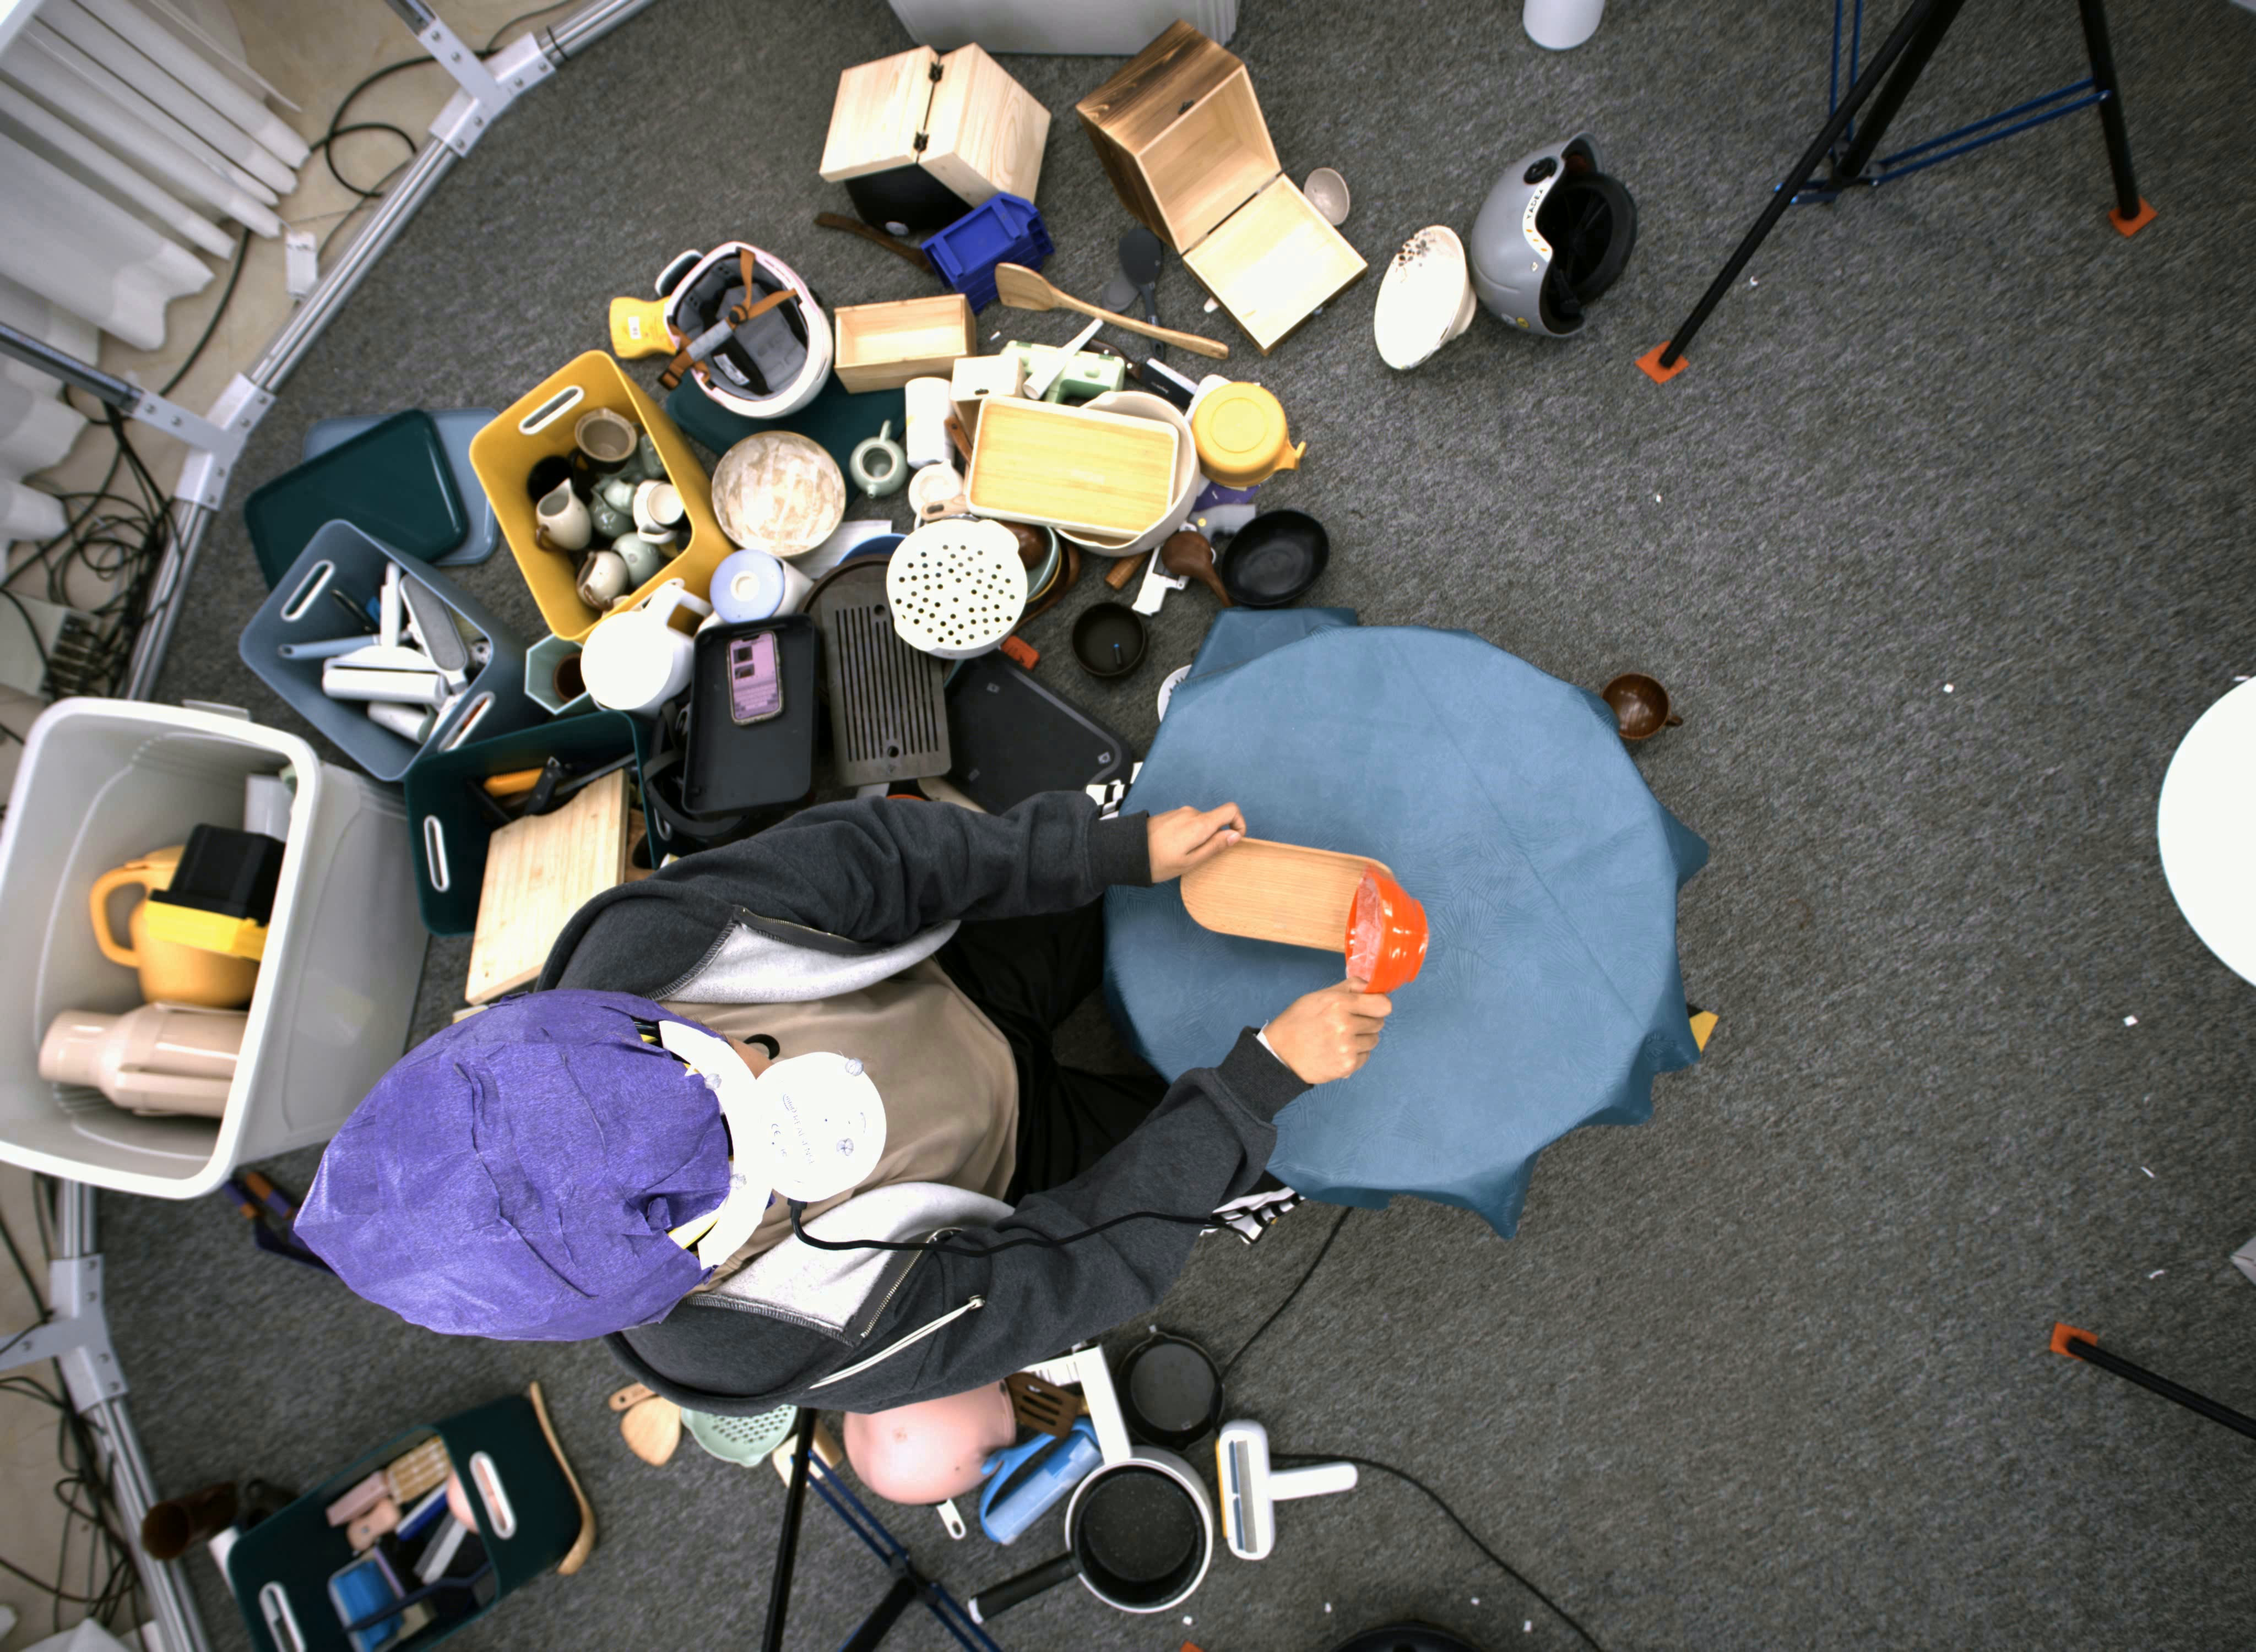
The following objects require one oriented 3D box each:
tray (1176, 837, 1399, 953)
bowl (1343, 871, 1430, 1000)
[{"bbox_3d":[0.164,0.070,1.412,0.231,0.020,0.102,8,95,2],"label":"tray"},{"bbox_3d":[0.239,0.102,1.270,0.051,0.119,0.118,6,86,-9],"label":"bowl"}]
